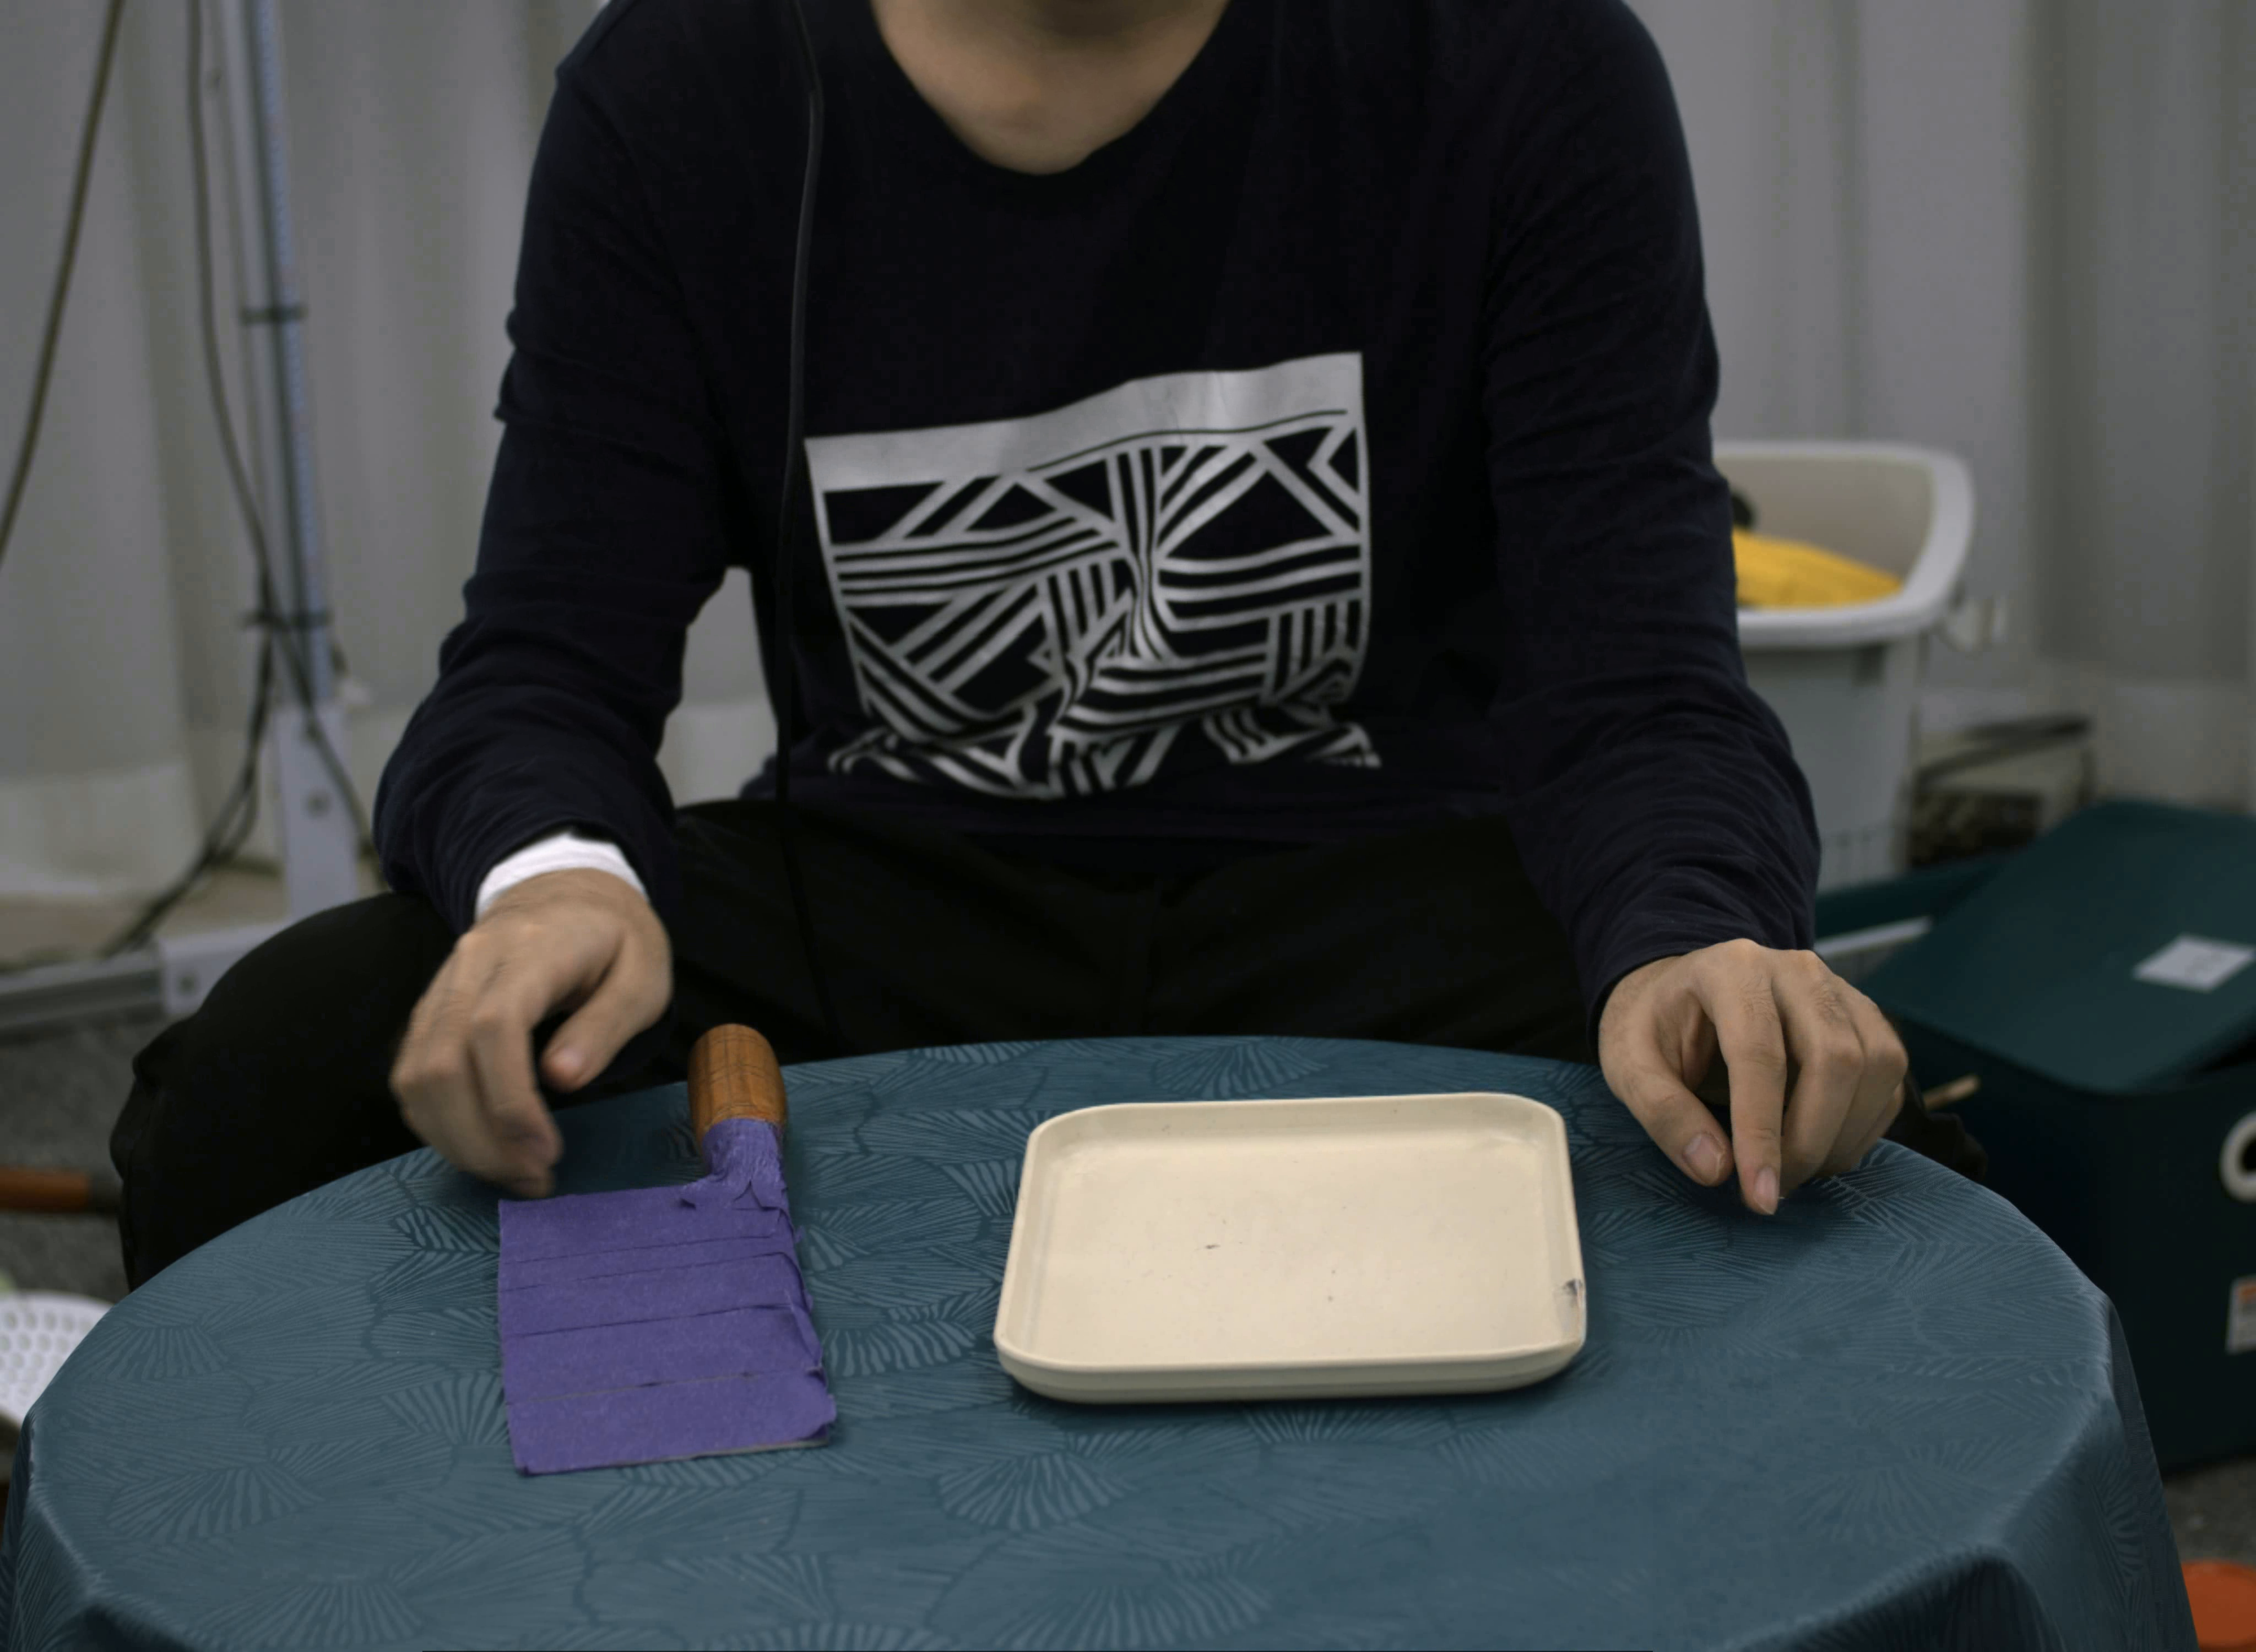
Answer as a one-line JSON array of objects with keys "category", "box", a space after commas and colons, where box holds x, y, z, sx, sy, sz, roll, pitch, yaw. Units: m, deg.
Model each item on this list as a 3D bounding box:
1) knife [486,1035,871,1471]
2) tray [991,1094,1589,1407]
[{"category": "knife", "box": [-0.143, 0.125, 1.654, 0.103, 0.032, 0.317, -4, 15, -7]}, {"category": "tray", "box": [0.049, 0.126, 1.633, 0.171, 0.017, 0.241, -2, 15, 3]}]
